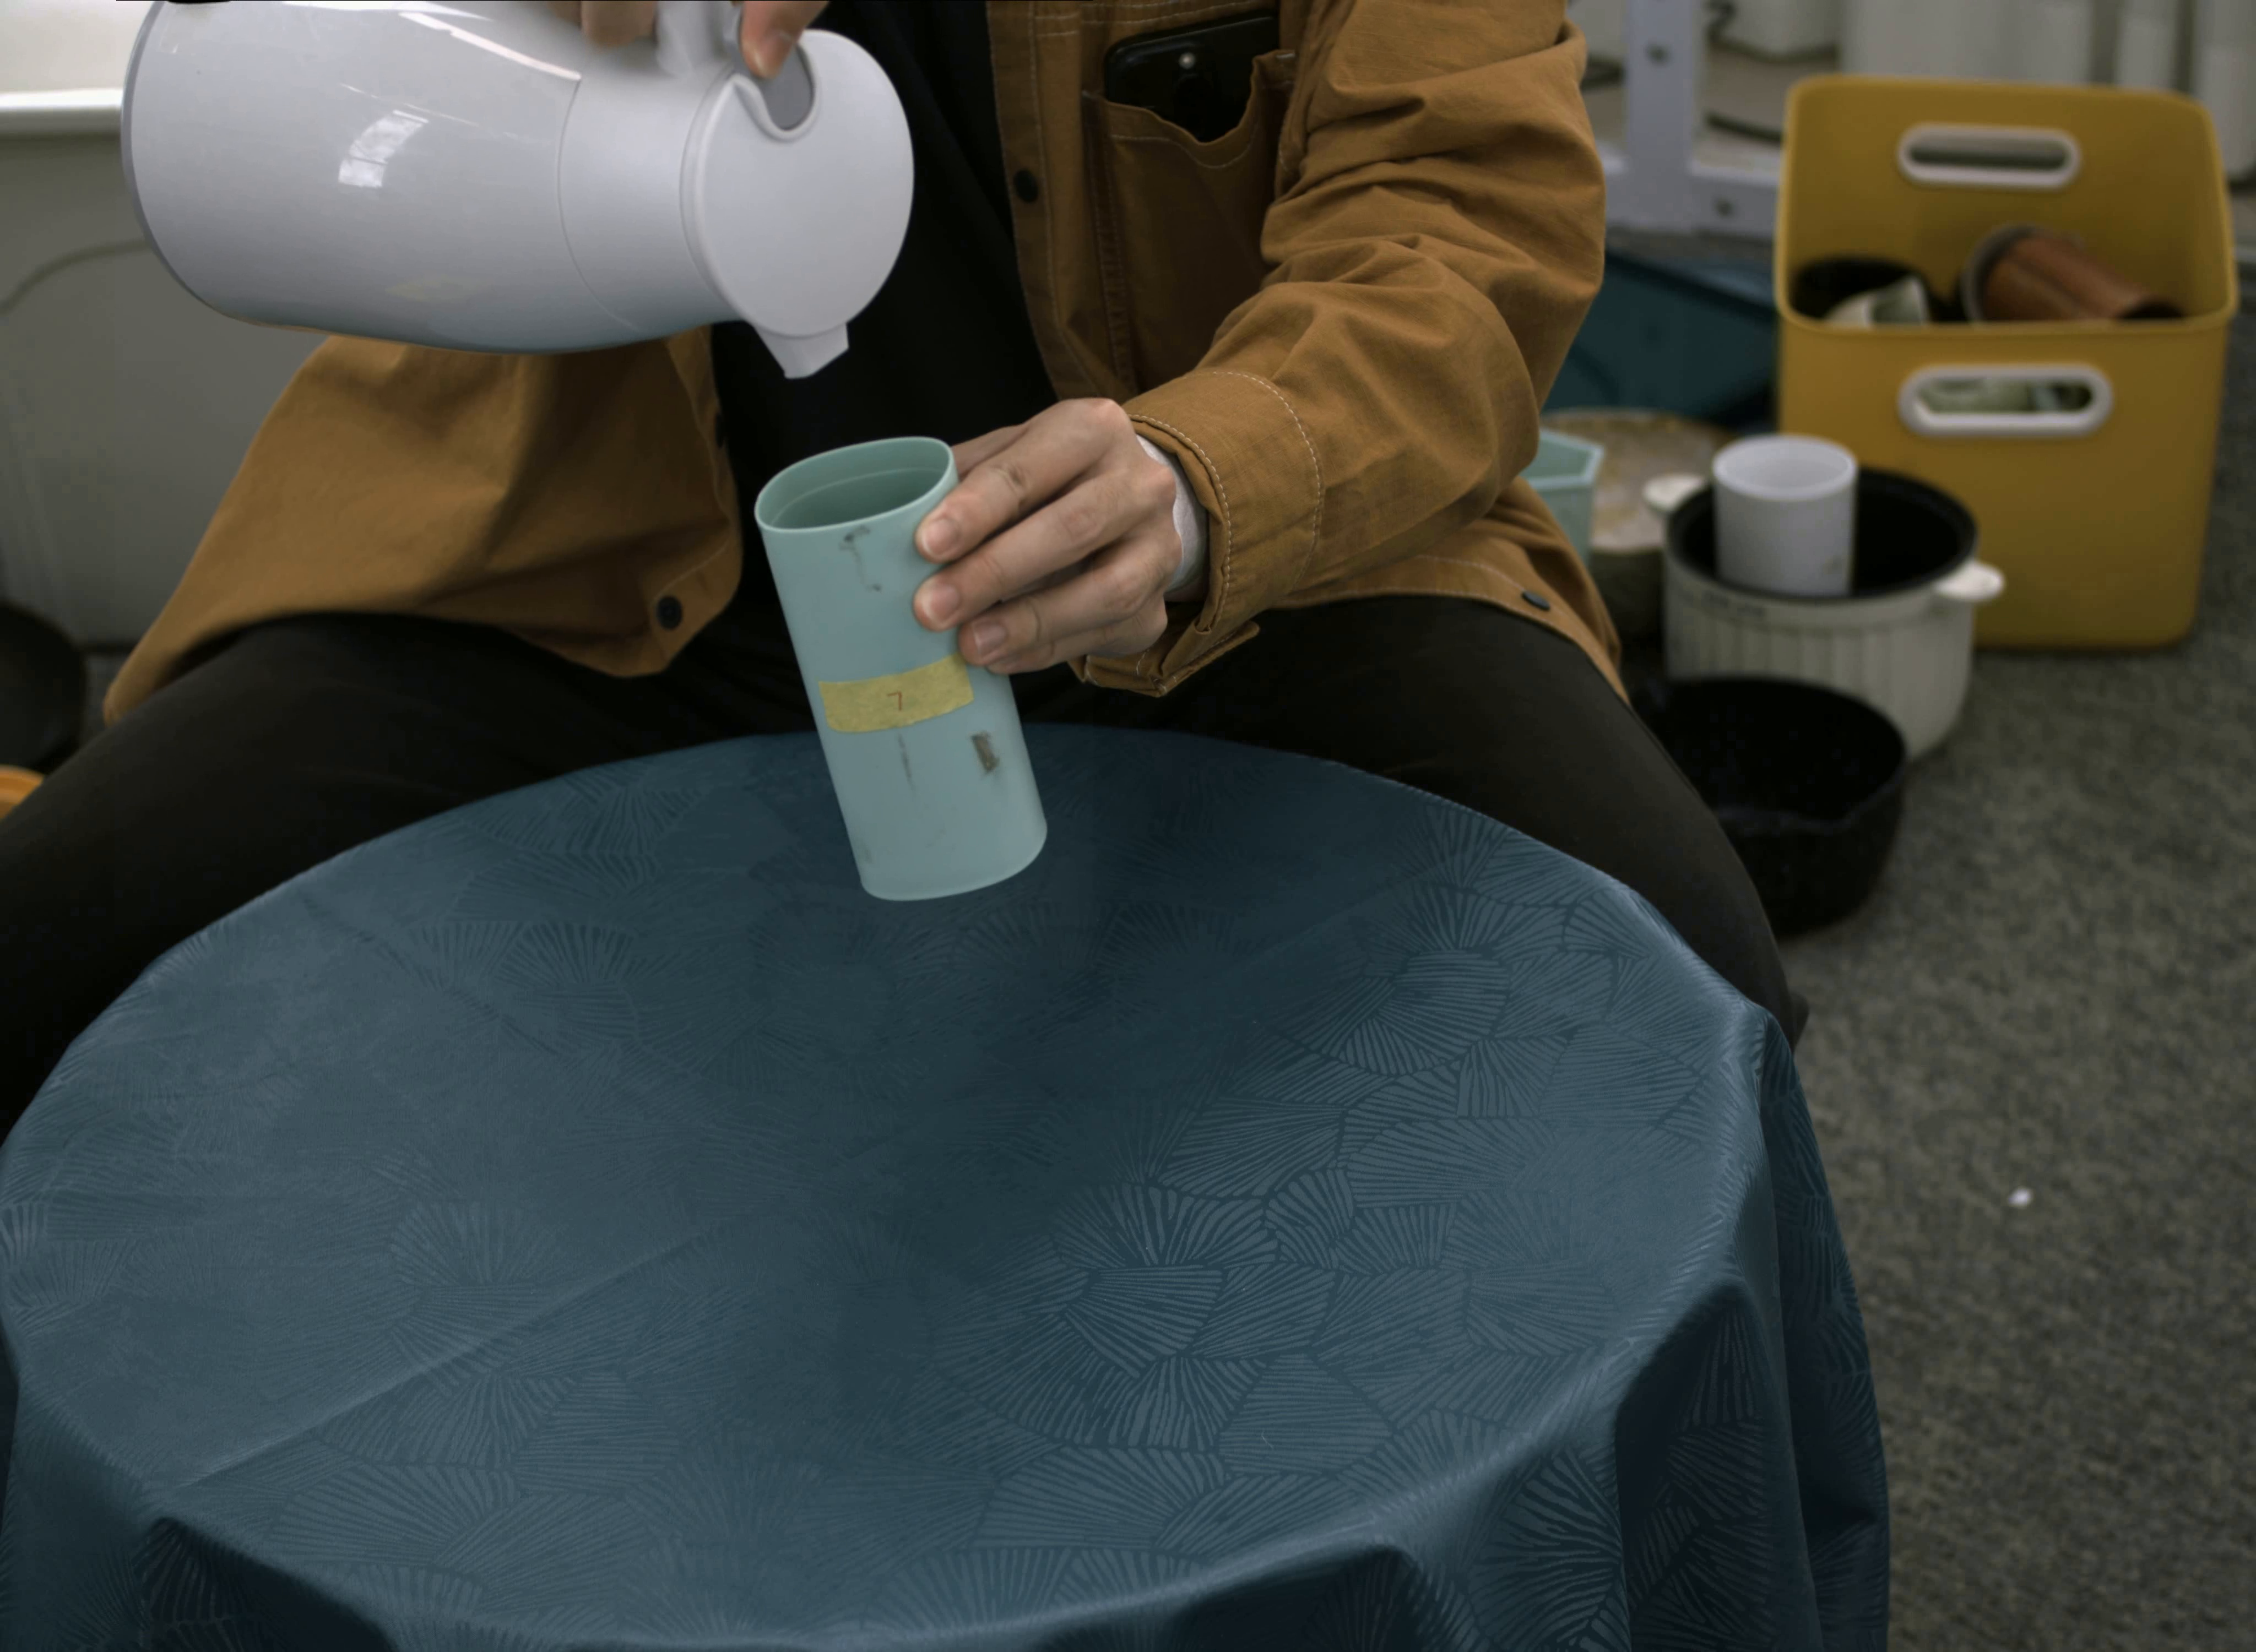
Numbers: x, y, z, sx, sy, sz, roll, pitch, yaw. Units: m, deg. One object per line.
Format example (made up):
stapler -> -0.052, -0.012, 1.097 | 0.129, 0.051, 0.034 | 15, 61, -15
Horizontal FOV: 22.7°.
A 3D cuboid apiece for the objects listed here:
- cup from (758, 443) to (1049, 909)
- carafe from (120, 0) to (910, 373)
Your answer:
cup -> -0.069, -0.047, 1.749 | 0.066, 0.131, 0.068 | -11, 25, 6
carafe -> -0.188, -0.225, 1.738 | 0.247, 0.166, 0.134 | 12, 39, 40
